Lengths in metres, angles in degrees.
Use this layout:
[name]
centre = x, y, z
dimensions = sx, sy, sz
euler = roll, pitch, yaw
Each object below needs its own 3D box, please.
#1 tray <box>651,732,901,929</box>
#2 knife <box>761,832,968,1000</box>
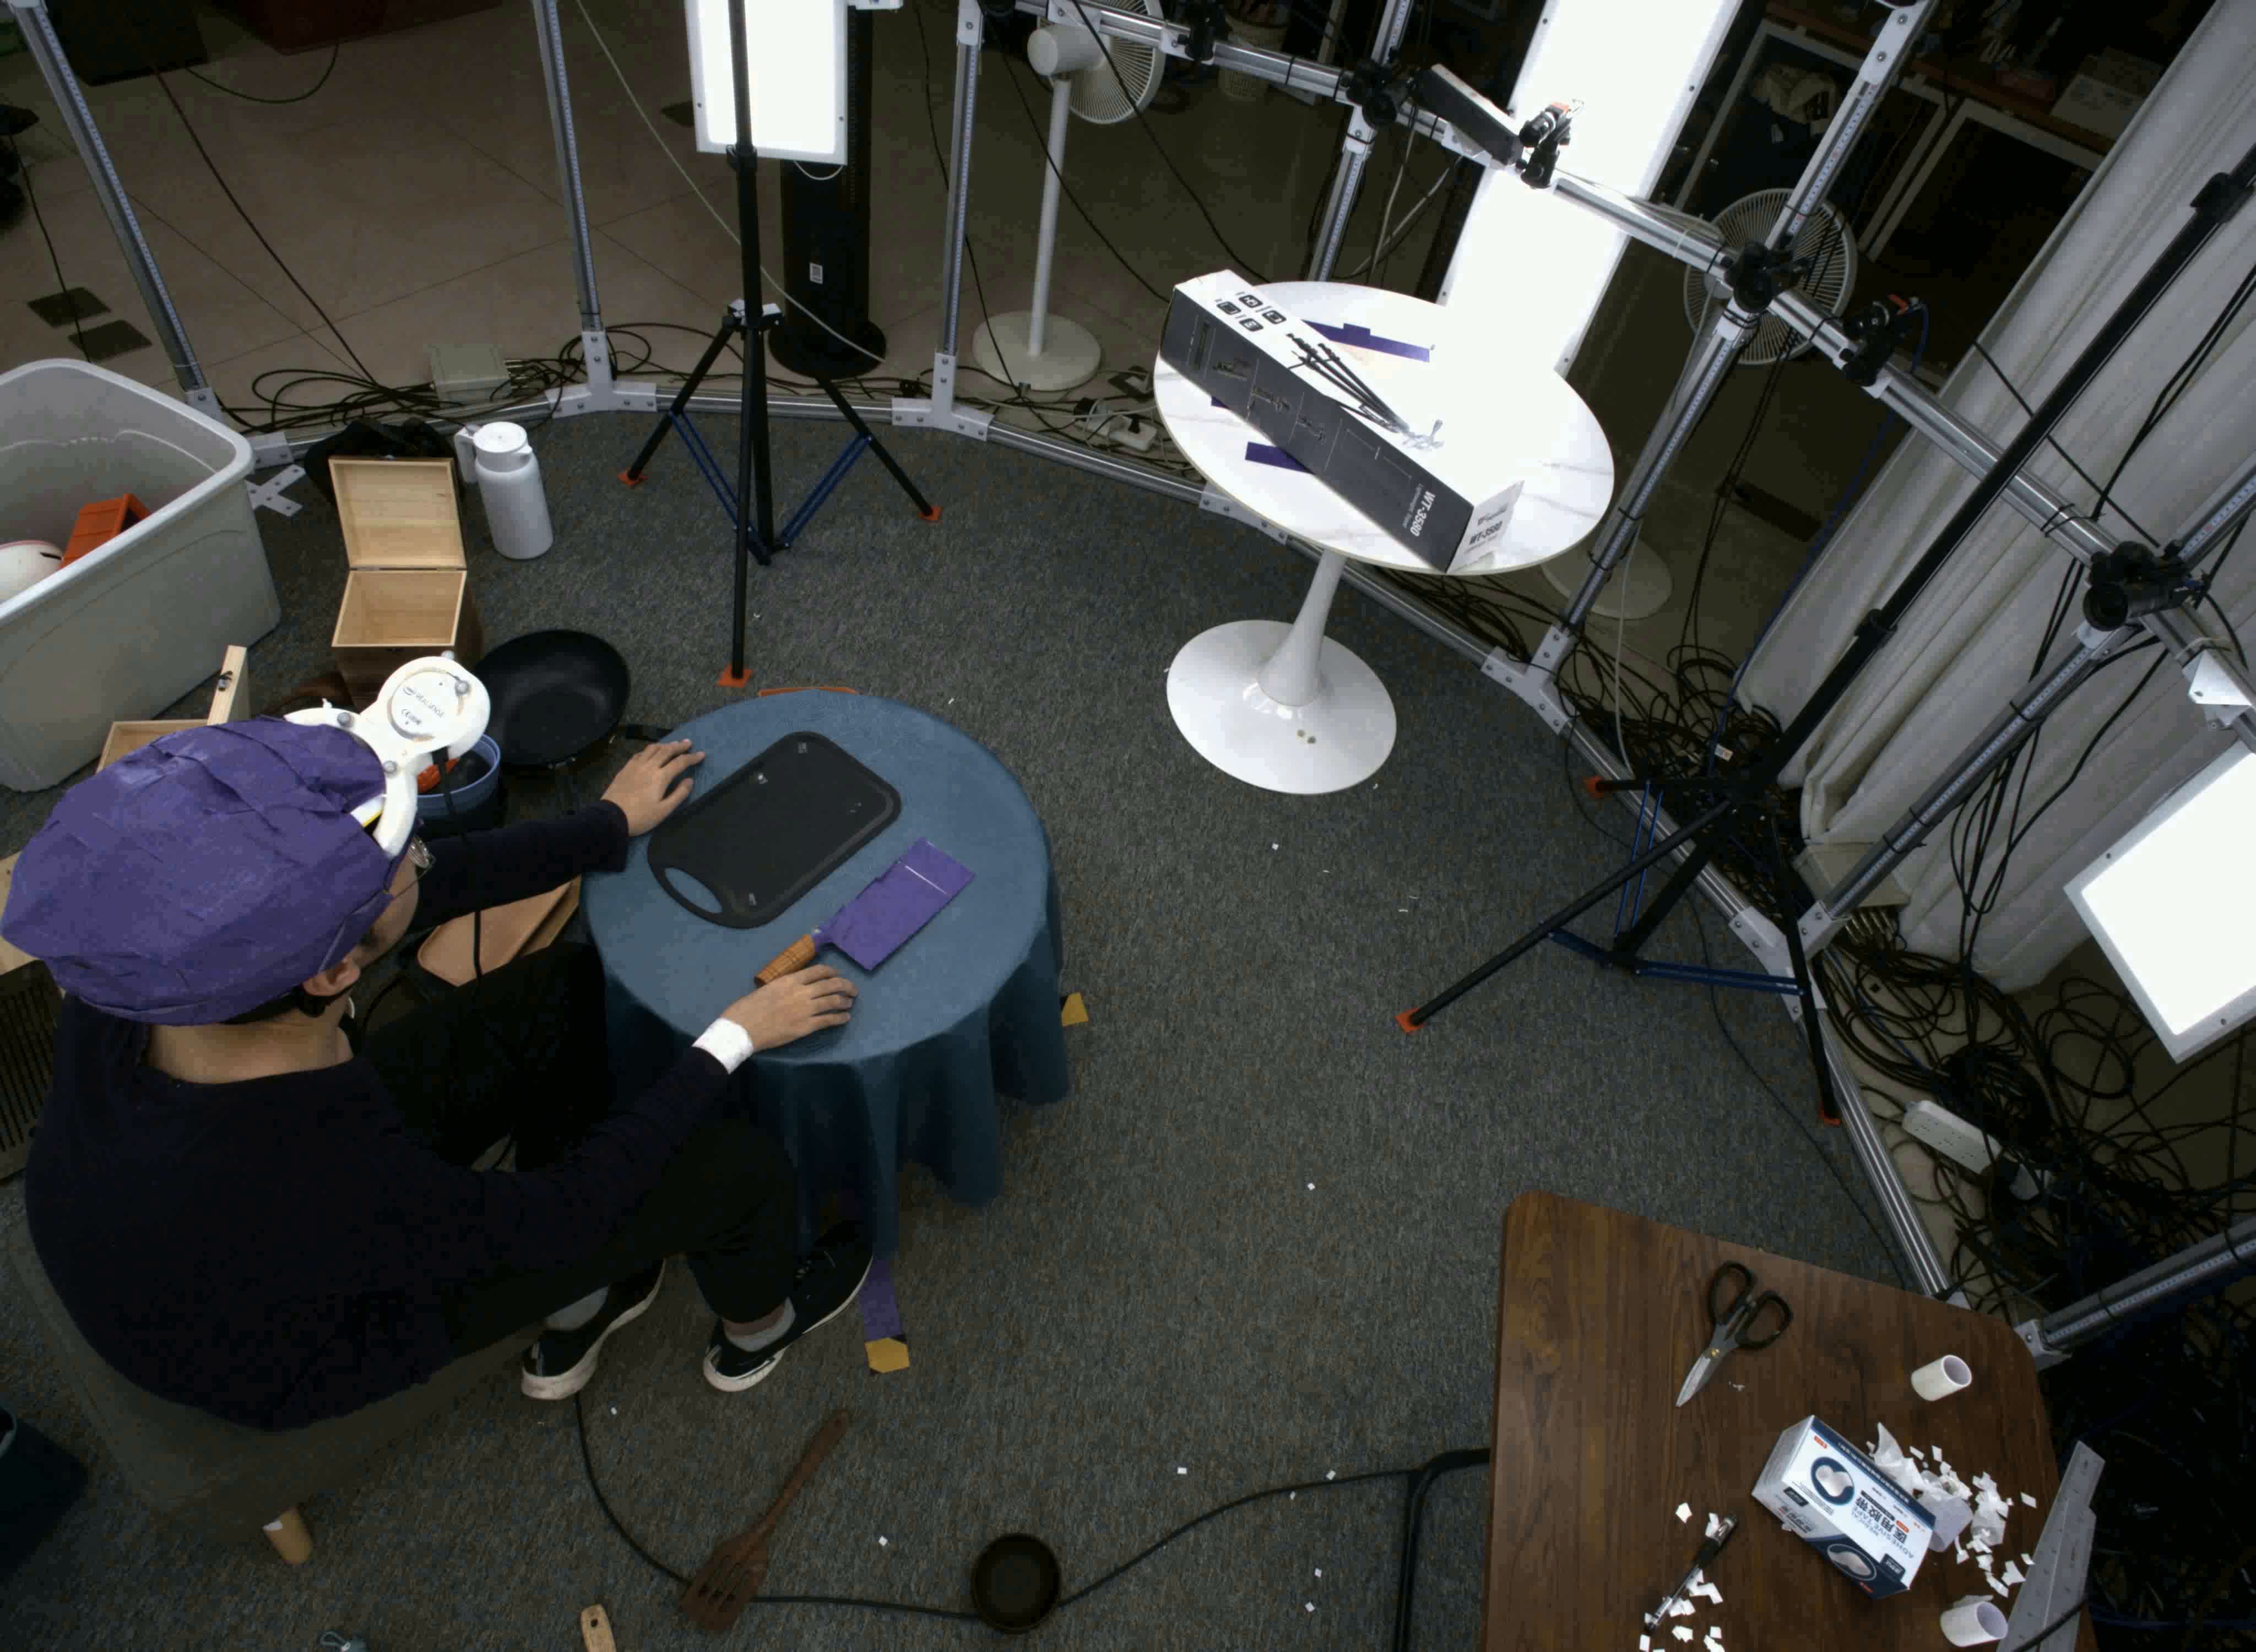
[tray]
centre = -0.468, 0.002, 1.718
dimensions = 0.207, 0.010, 0.325
euler = 36, 54, 13
[knife]
centre = -0.326, 0.121, 1.653
dimensions = 0.102, 0.033, 0.315
euler = 34, 53, 12
